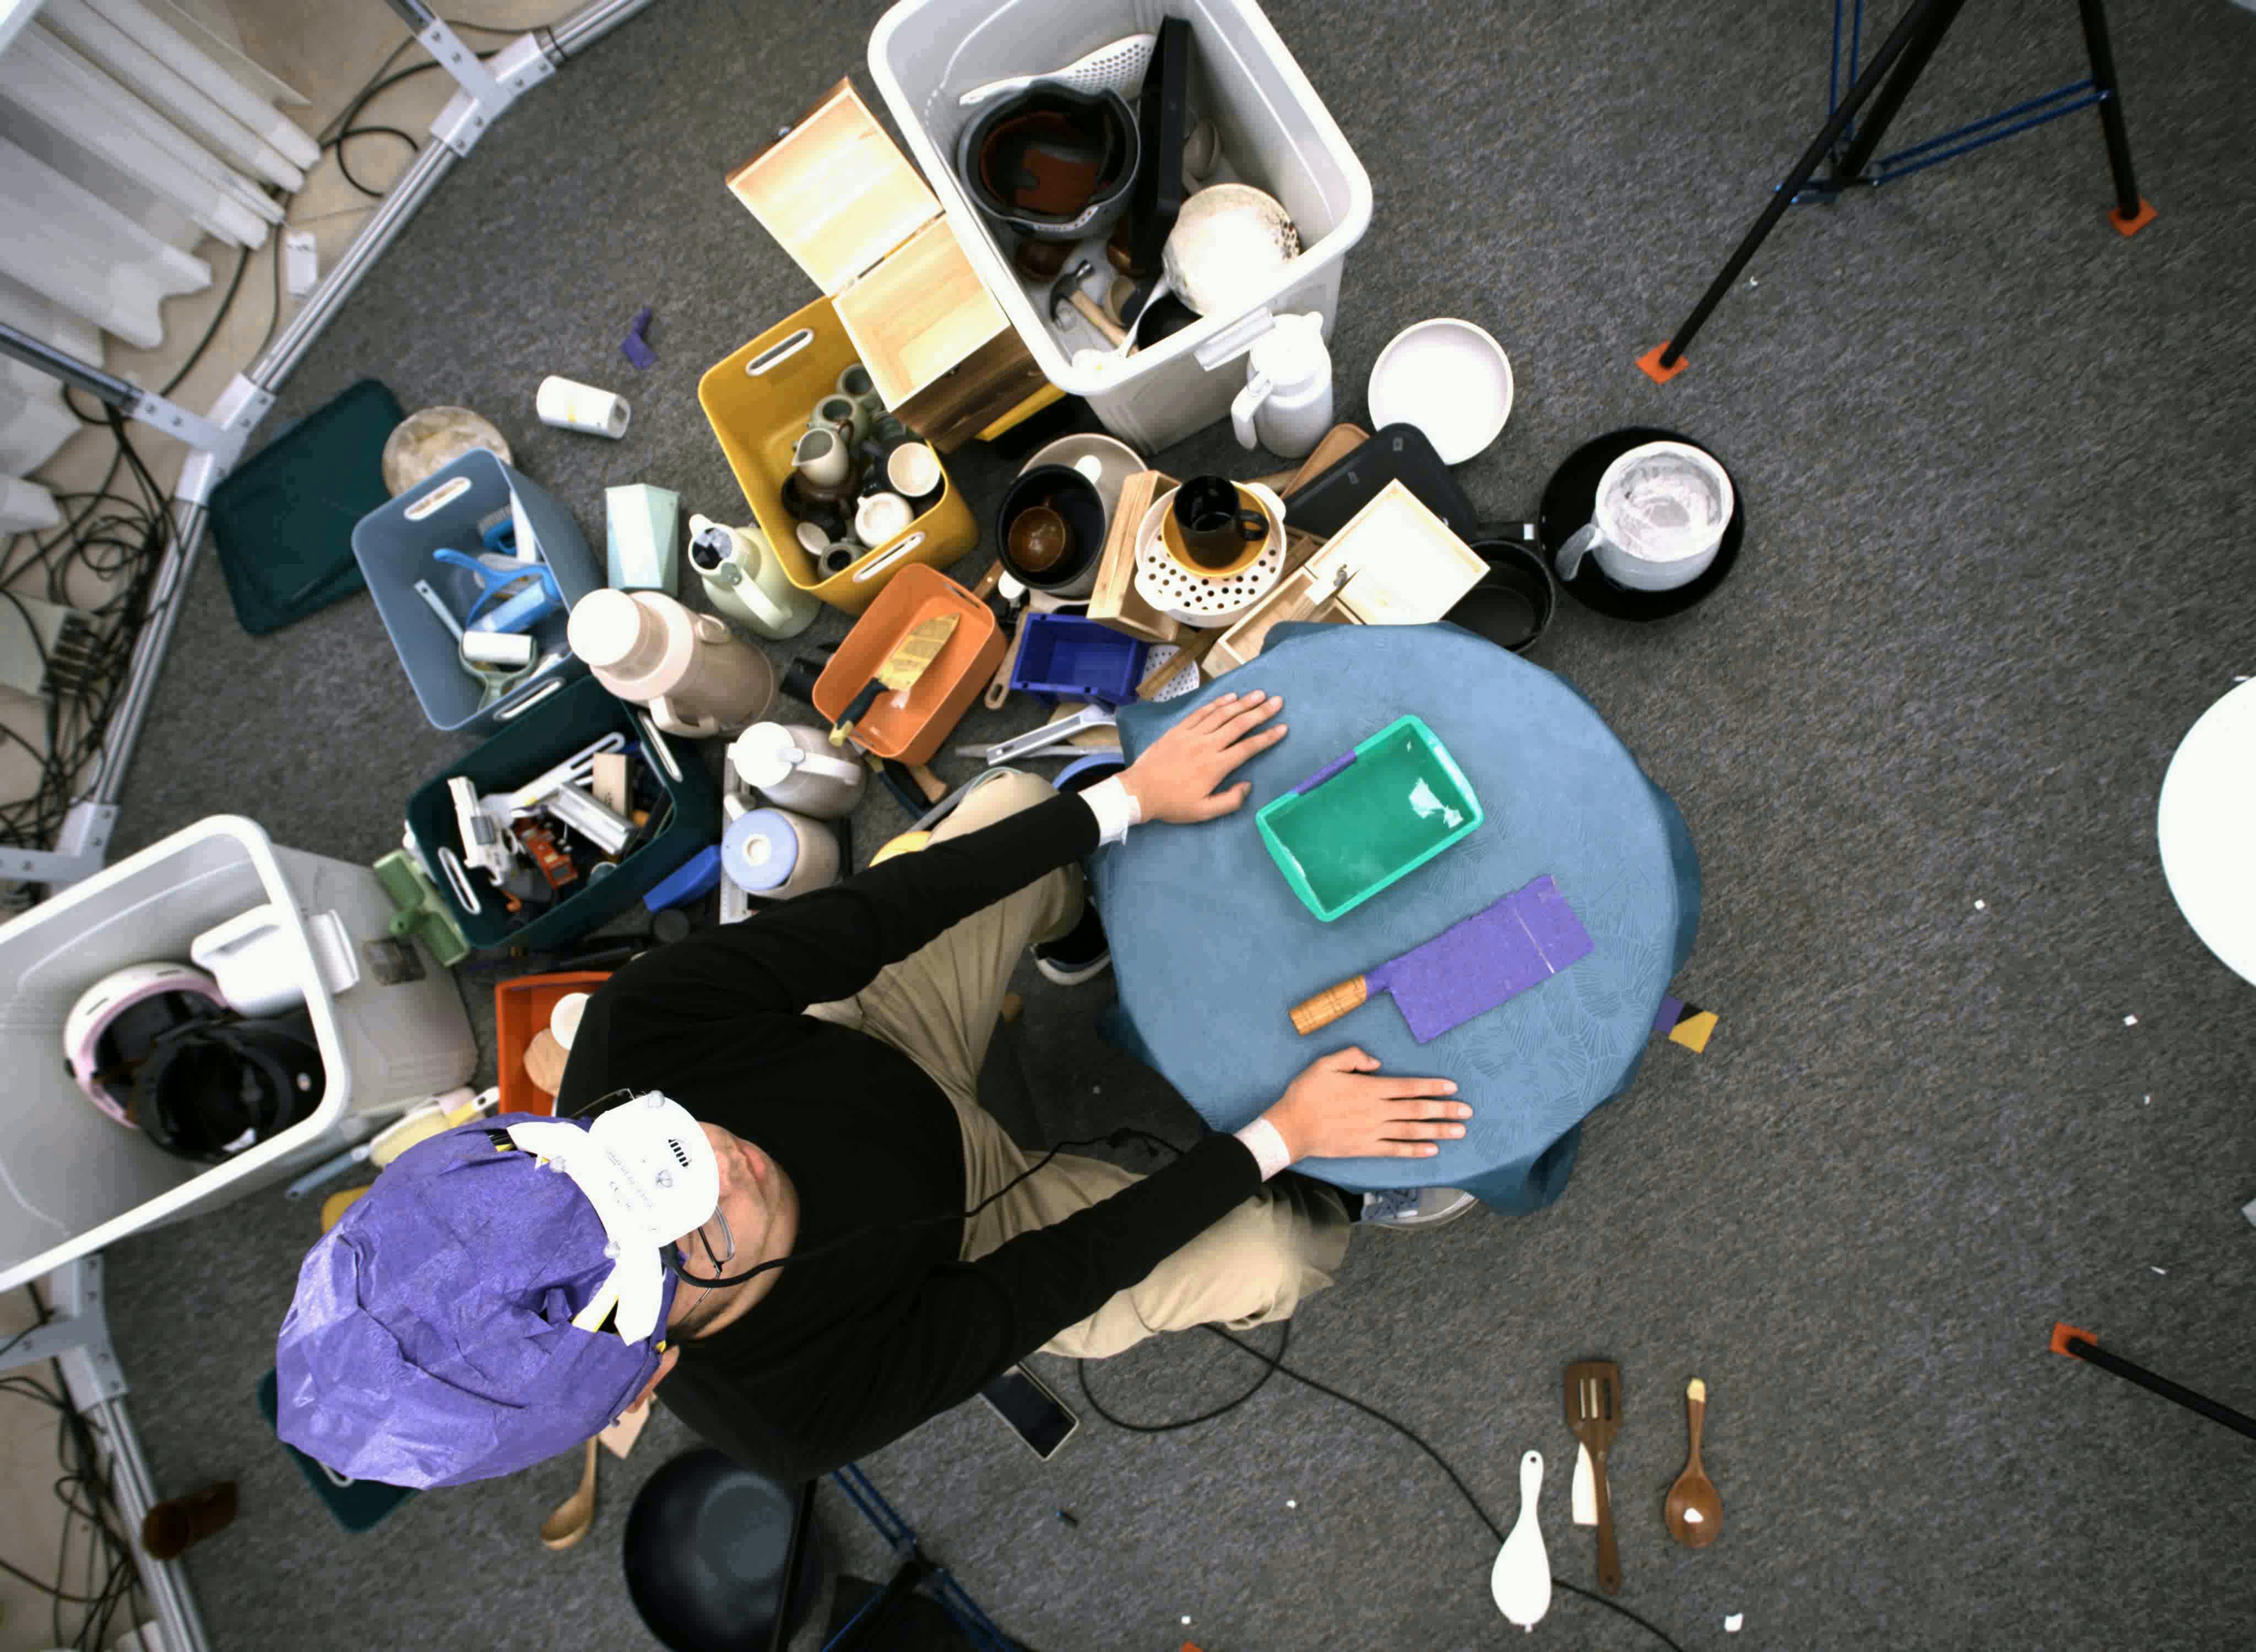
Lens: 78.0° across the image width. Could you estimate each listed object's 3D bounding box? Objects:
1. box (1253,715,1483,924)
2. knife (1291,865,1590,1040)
[{"bbox_3d":[0.249,-0.005,1.437,0.212,0.065,0.138,-35,80,9],"label":"box"},{"bbox_3d":[0.326,0.158,1.431,0.317,0.032,0.103,-30,82,7],"label":"knife"}]
